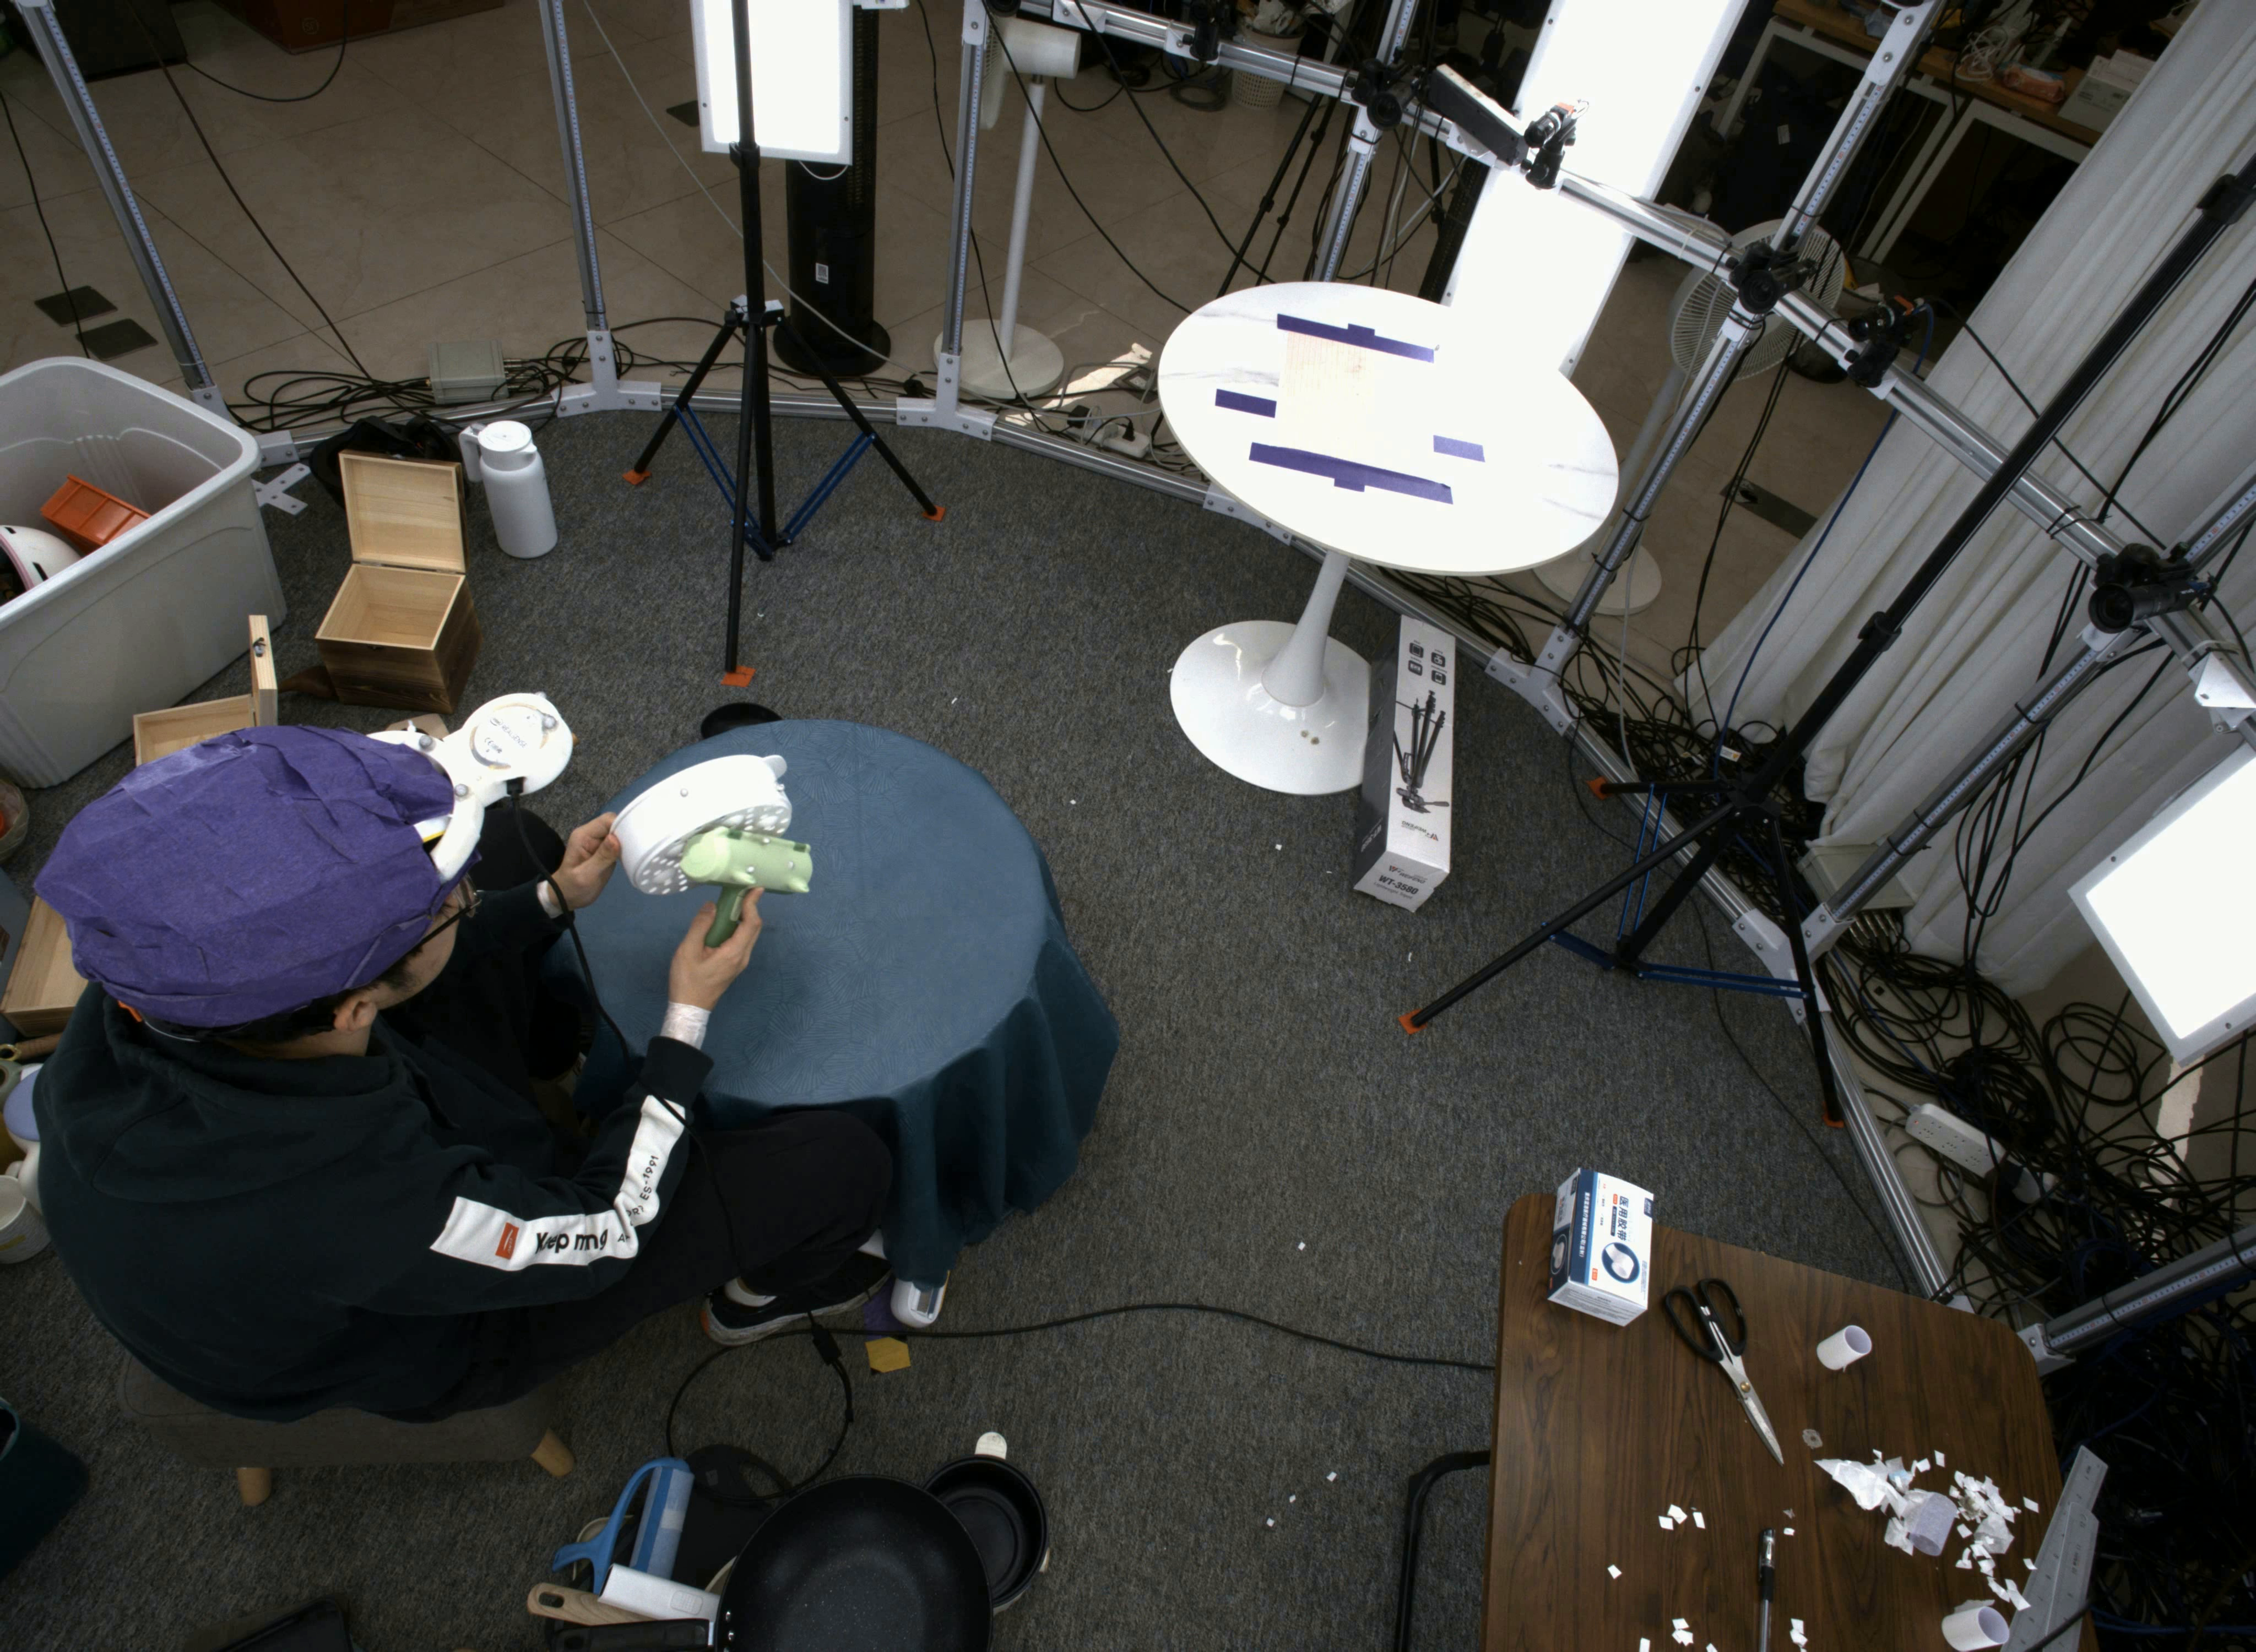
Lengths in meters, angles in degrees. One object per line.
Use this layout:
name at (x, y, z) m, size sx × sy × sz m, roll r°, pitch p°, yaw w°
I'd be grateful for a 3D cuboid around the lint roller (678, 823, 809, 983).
lint roller at (-0.436, 0.094, 1.446) m, size 0.080 × 0.202 × 0.185 m, roll 17°, pitch 89°, yaw 16°

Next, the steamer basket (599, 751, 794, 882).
steamer basket at (-0.475, -0.008, 1.445) m, size 0.230 × 0.203 × 0.069 m, roll -24°, pitch 80°, yaw -12°
